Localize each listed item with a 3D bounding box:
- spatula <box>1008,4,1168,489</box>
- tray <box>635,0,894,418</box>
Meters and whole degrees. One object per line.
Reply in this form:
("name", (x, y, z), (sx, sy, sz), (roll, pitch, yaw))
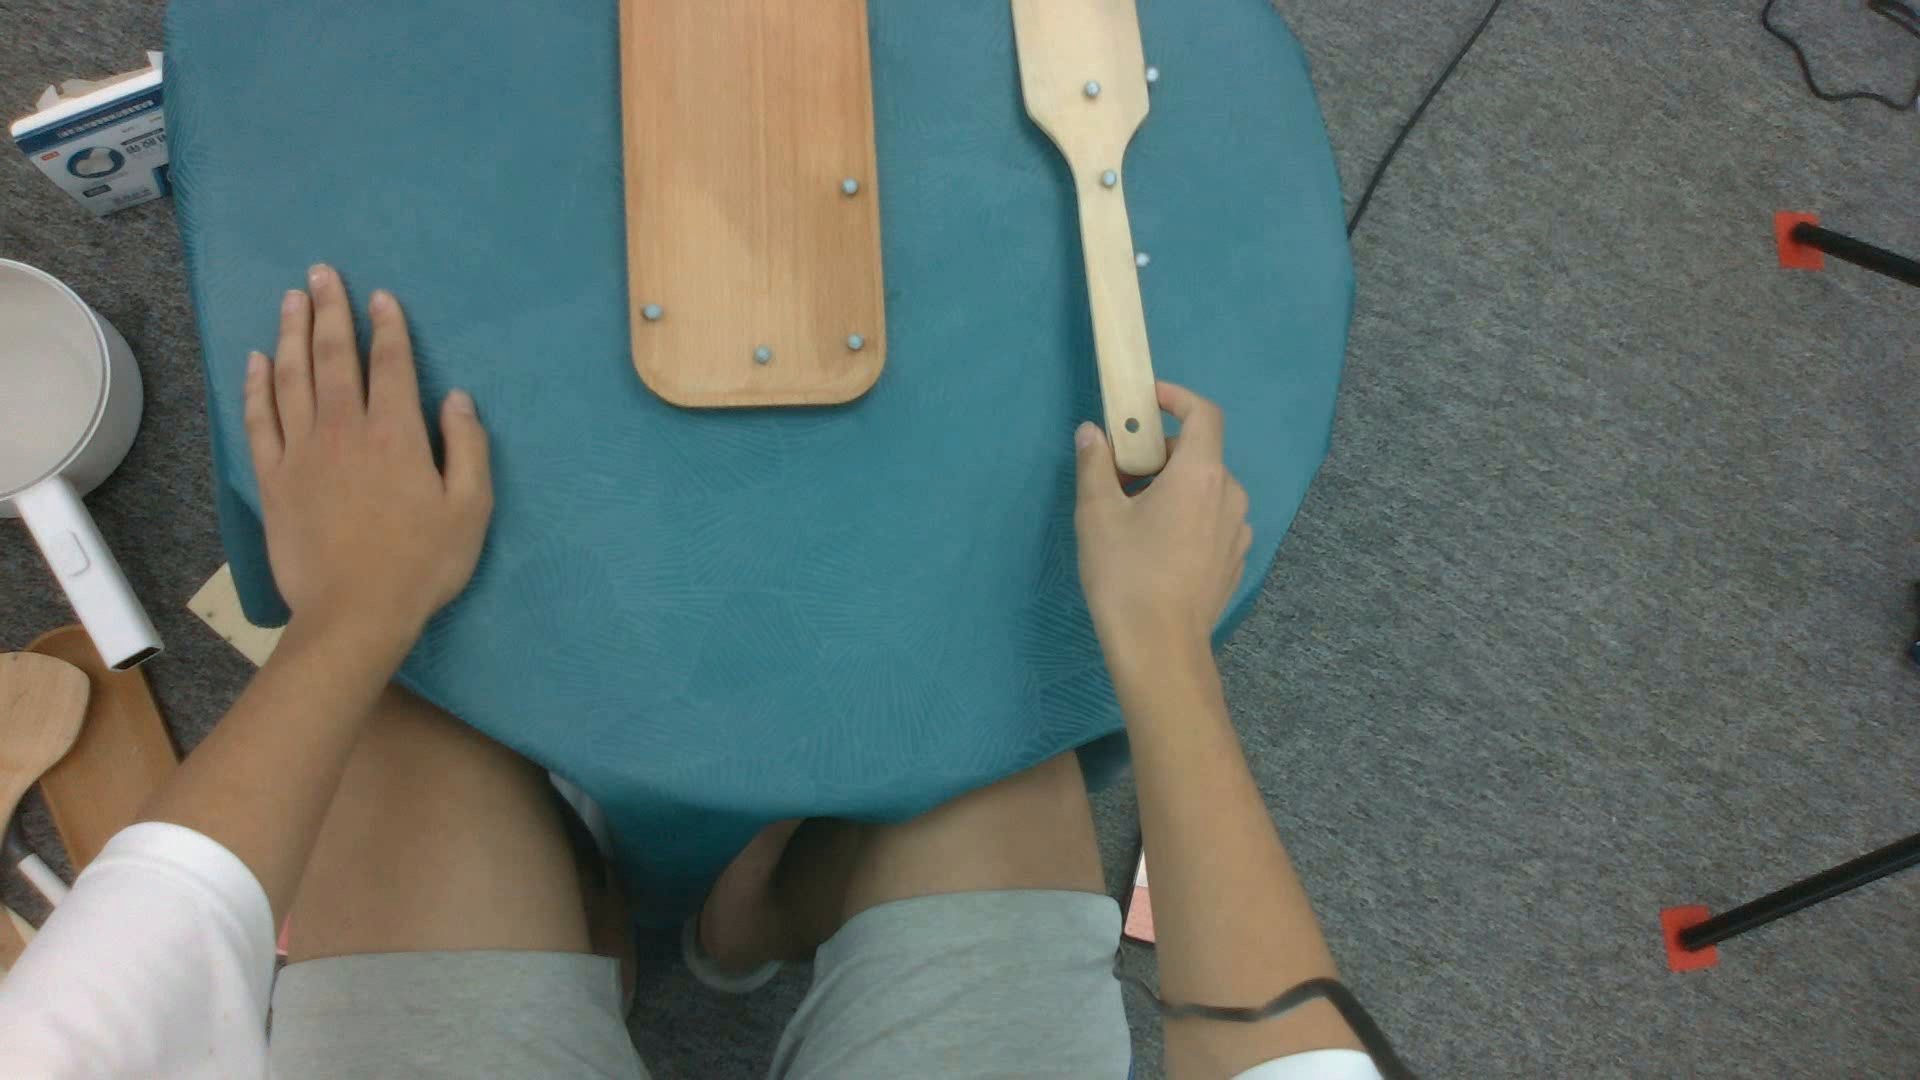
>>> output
("spatula", (0.078, -0.165, 0.740), (0.072, 0.010, 0.294), (-4, 72, -9))
("tray", (-0.105, -0.187, 0.732), (0.131, 0.023, 0.251), (-1, 80, -11))
